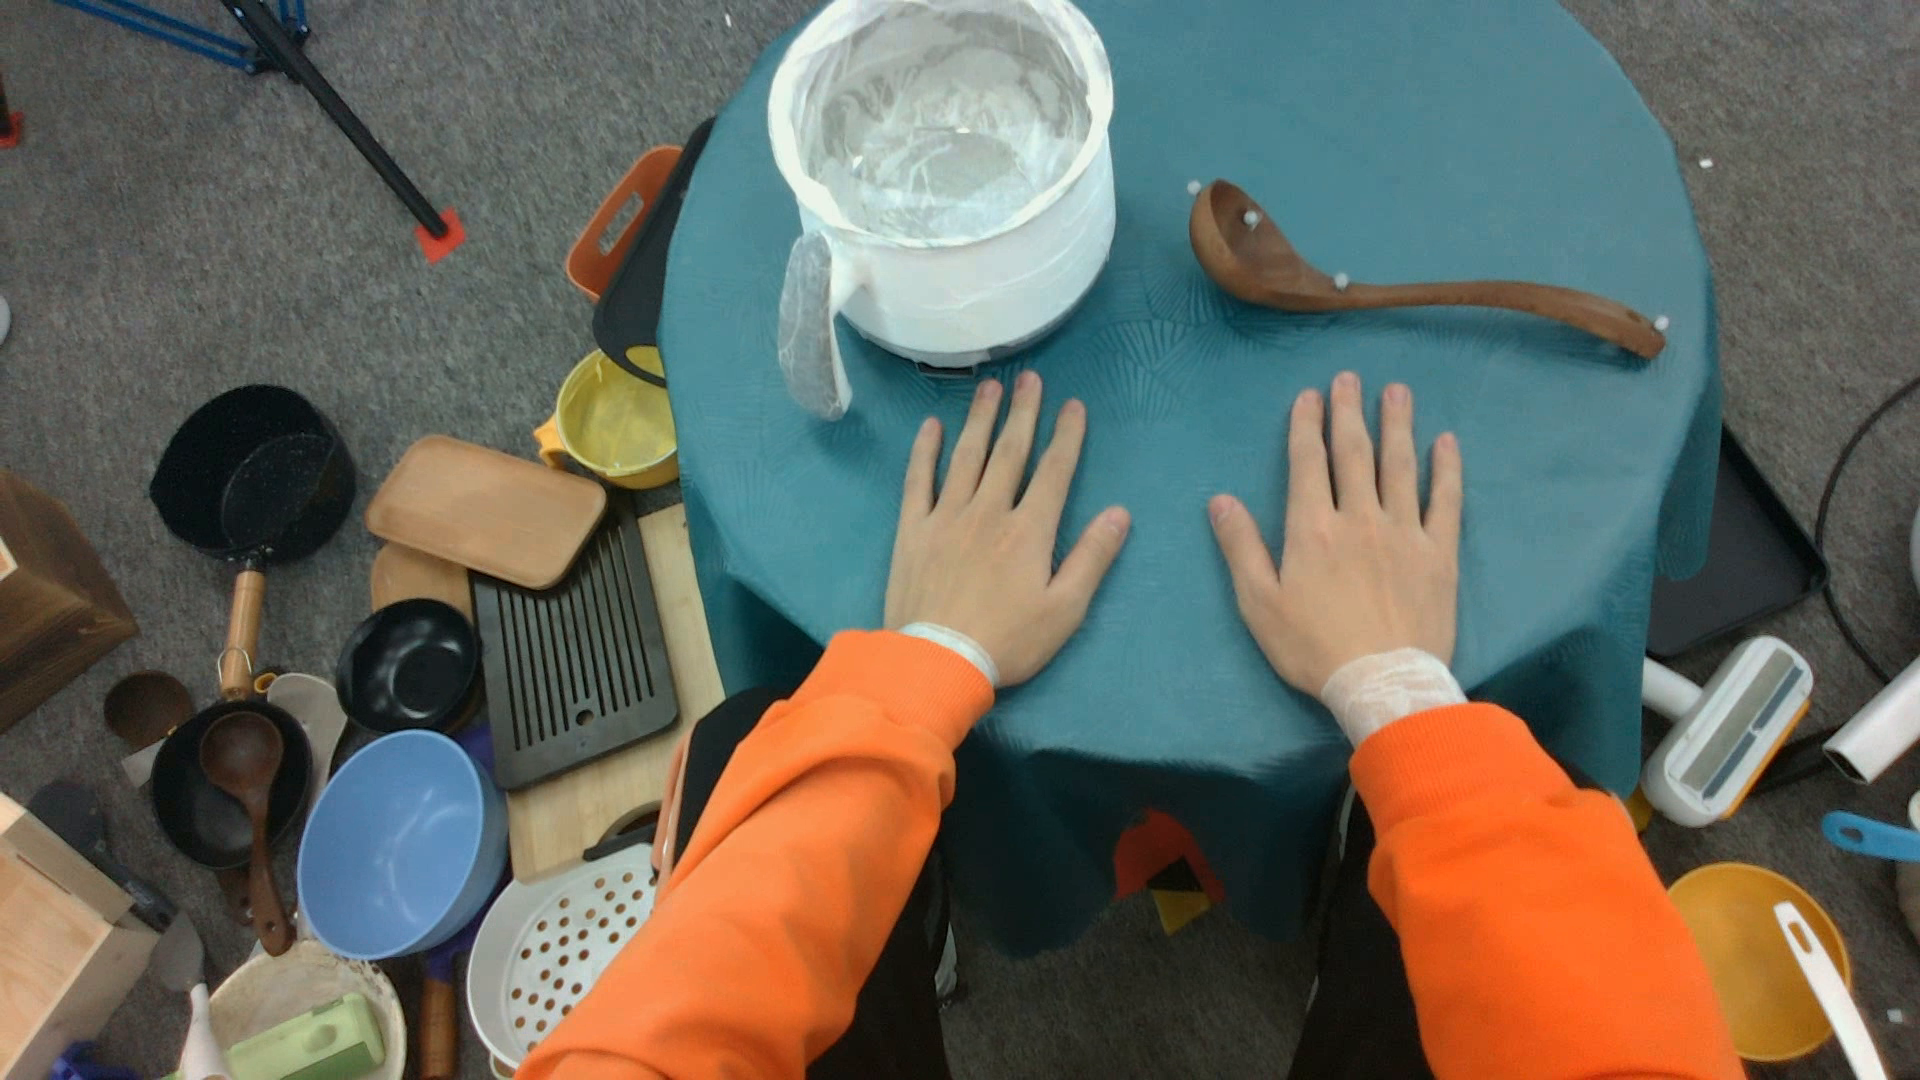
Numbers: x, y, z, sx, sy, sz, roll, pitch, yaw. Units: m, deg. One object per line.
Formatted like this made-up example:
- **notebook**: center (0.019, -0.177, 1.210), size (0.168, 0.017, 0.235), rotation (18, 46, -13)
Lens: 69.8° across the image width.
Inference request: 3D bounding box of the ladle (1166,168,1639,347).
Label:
- **ladle**: center (0.241, -0.153, 0.751), size (0.260, 0.065, 0.077), rotation (10, 47, 11)

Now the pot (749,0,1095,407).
- **pot**: center (-0.031, -0.183, 0.752), size (0.179, 0.136, 0.234), rotation (31, 73, 18)
